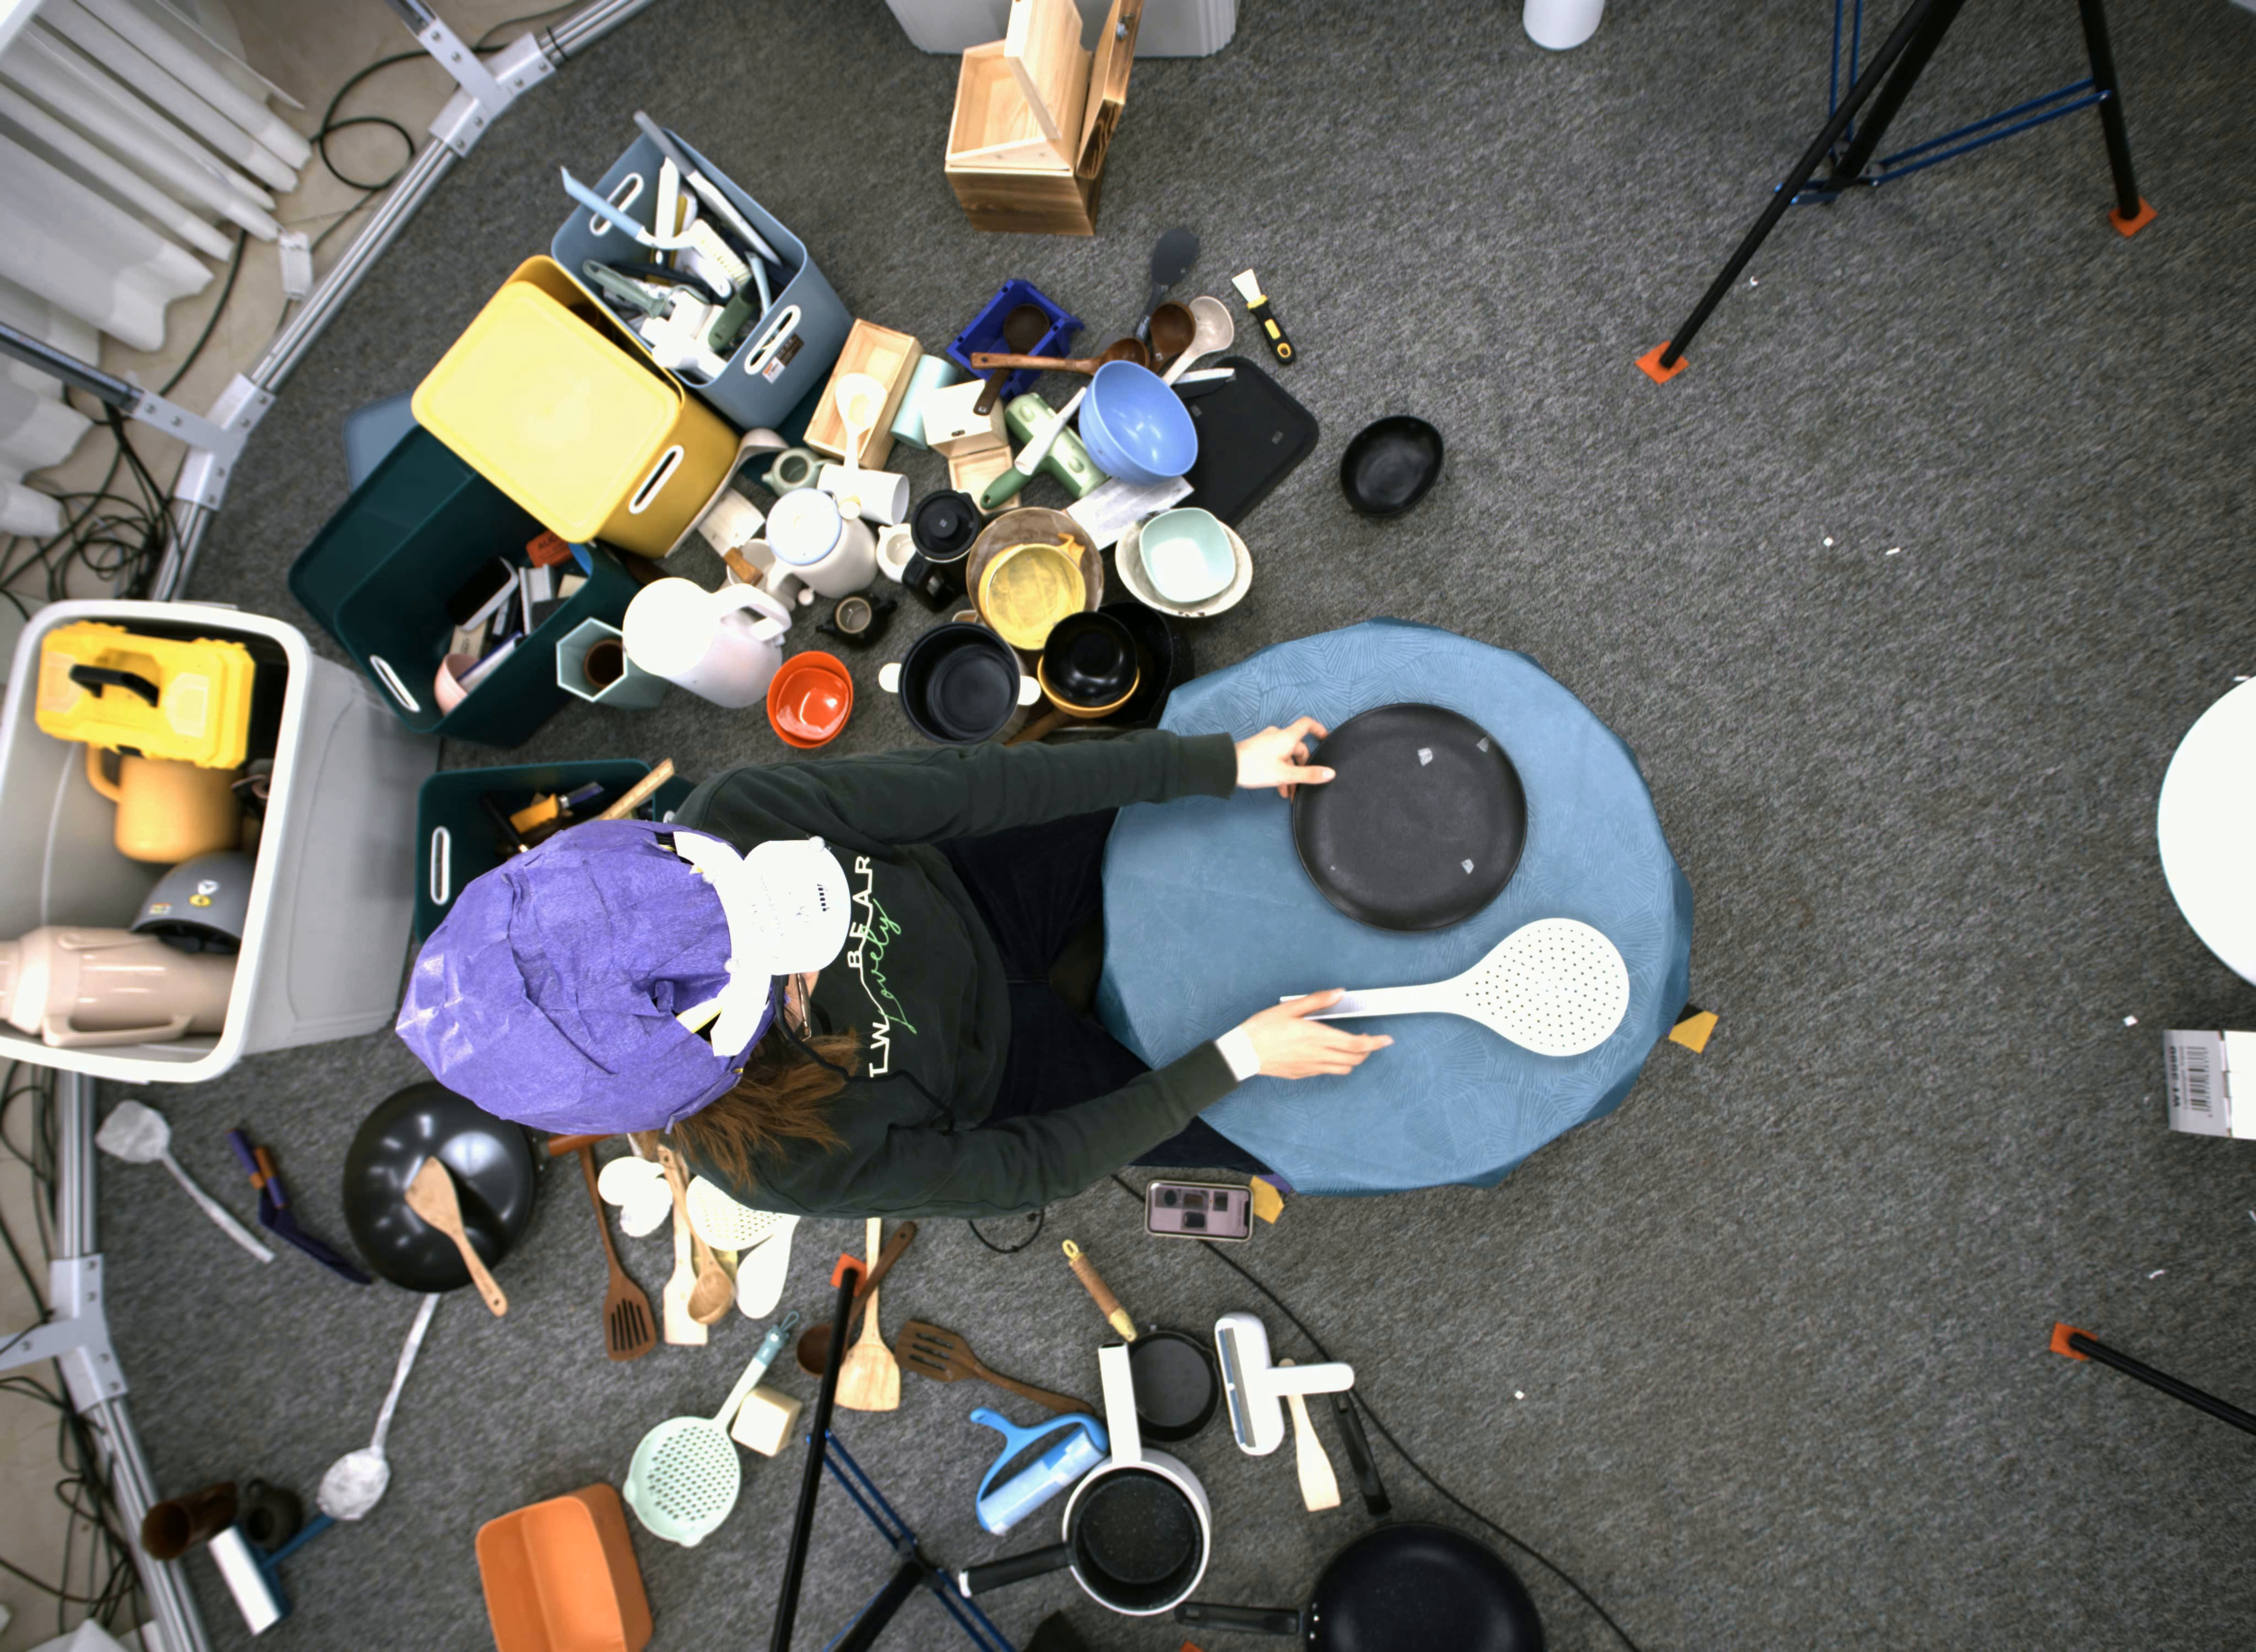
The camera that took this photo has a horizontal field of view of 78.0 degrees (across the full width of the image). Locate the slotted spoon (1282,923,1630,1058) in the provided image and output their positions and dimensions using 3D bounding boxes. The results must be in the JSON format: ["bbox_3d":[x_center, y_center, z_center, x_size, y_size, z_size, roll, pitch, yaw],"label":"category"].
[{"bbox_3d":[0.333,0.176,1.423,0.351,0.046,0.135,-6,83,11],"label":"slotted spoon"}]

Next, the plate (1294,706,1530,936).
[{"bbox_3d":[0.298,-0.006,1.453,0.245,0.023,0.243,-1,86,10],"label":"plate"}]
